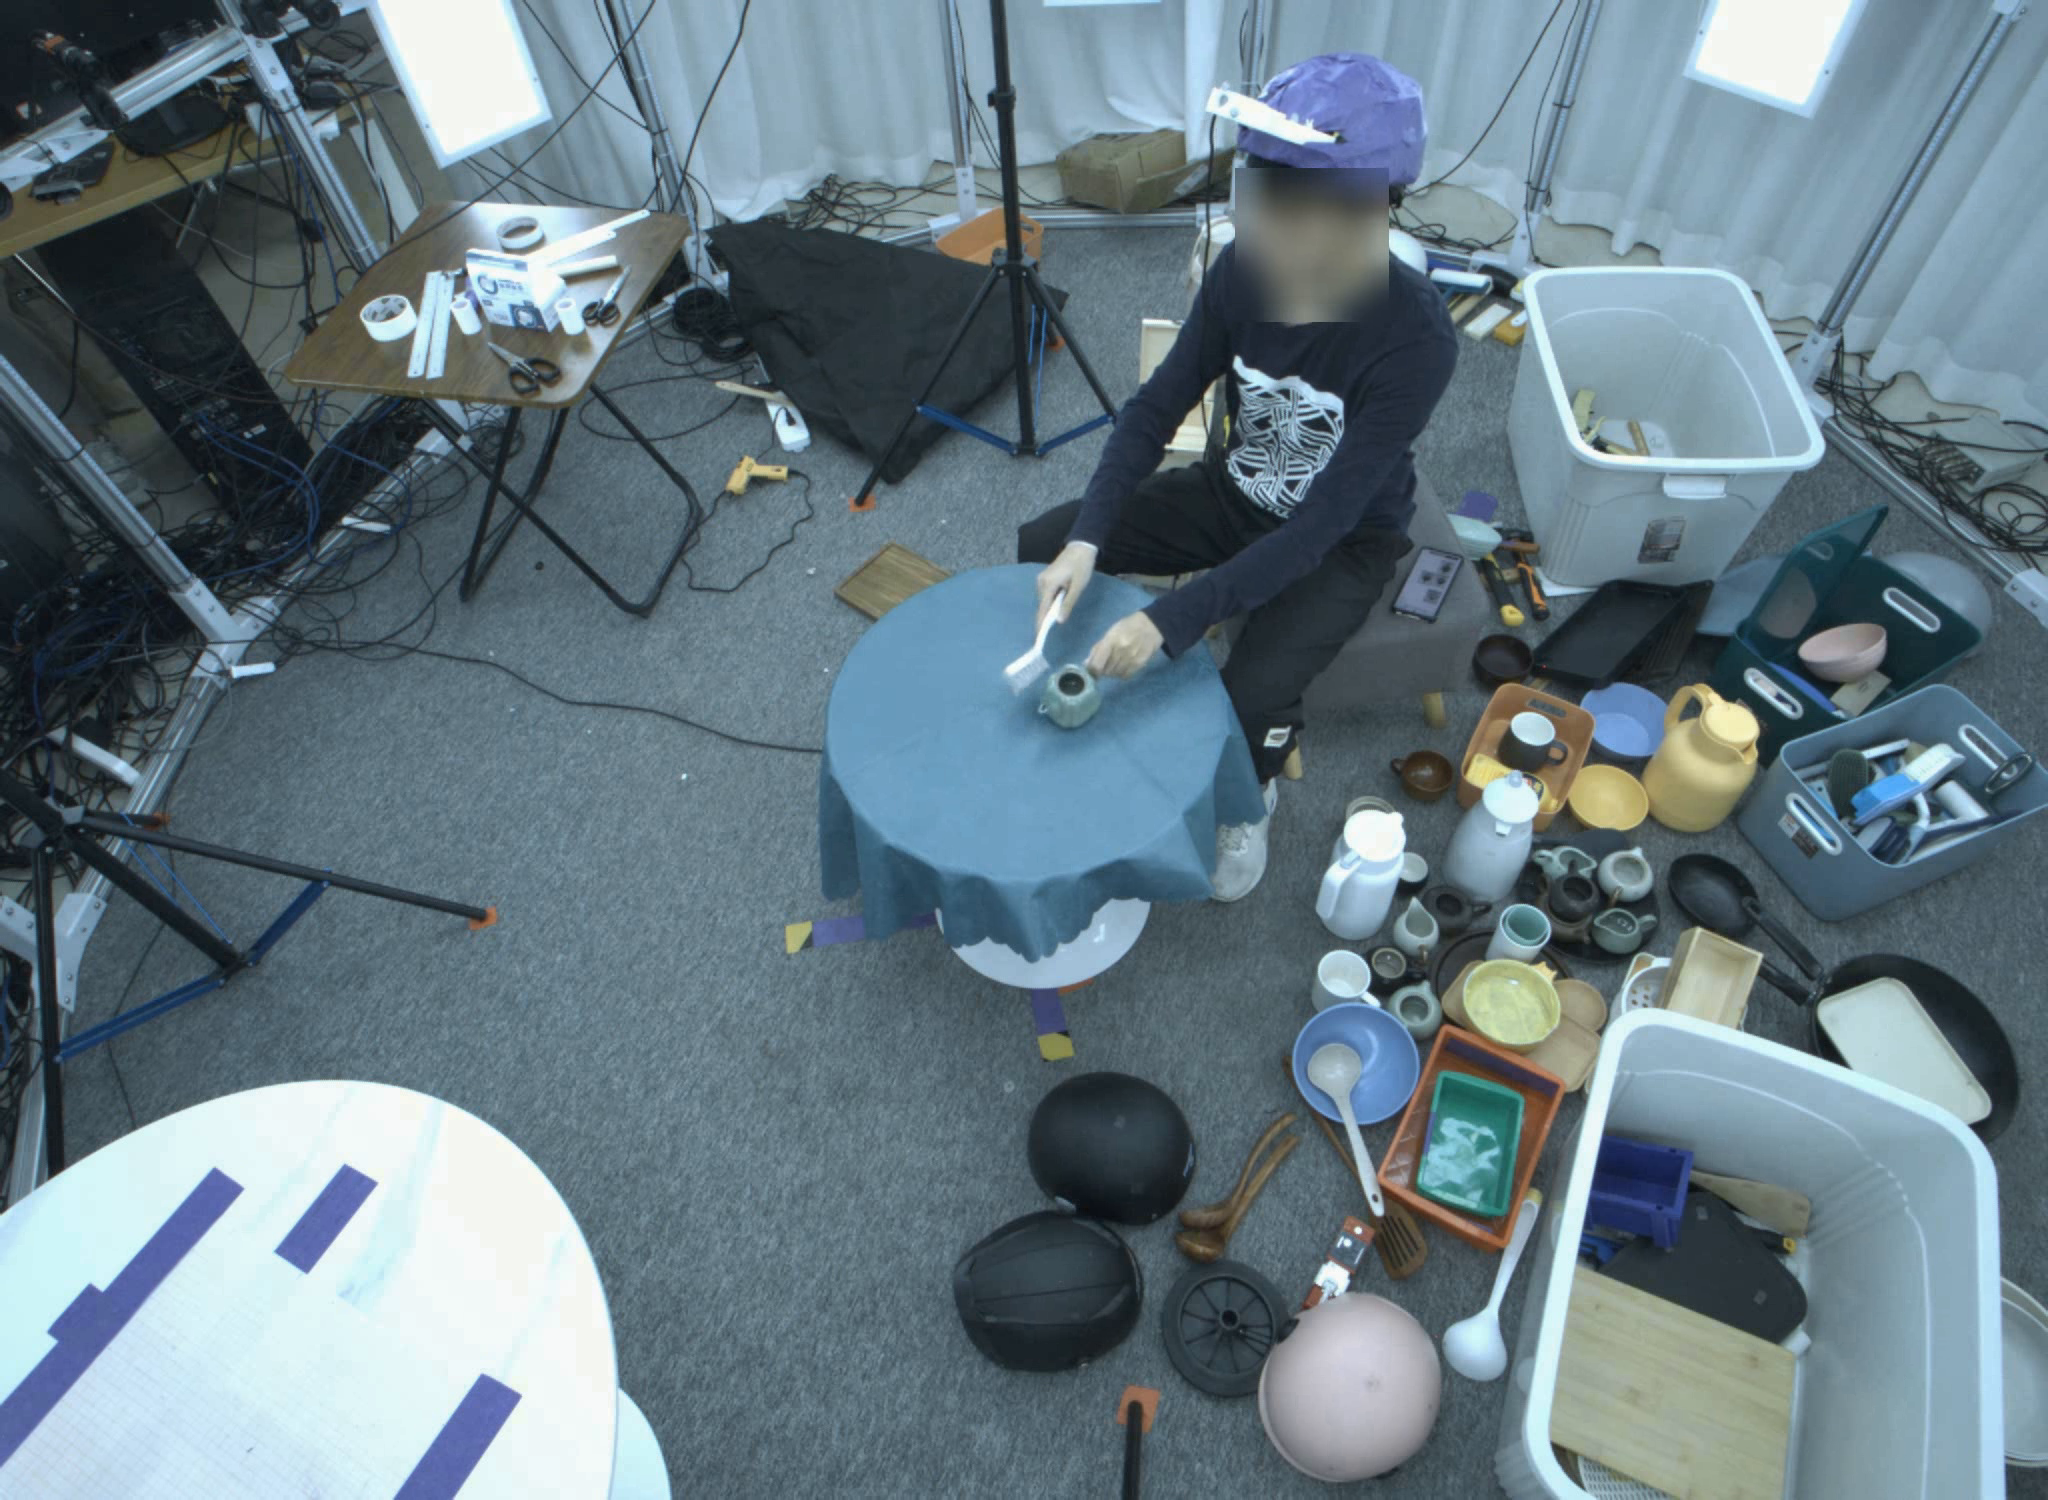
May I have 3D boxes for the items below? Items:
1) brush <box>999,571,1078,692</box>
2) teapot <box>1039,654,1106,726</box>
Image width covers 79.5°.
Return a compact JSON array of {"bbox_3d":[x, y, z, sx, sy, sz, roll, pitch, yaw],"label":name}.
[{"bbox_3d":[0.038,-0.179,1.834,0.050,0.034,0.244,30,57,7],"label":"brush"},{"bbox_3d":[0.069,-0.084,1.785,0.079,0.075,0.133,42,71,15],"label":"teapot"}]
